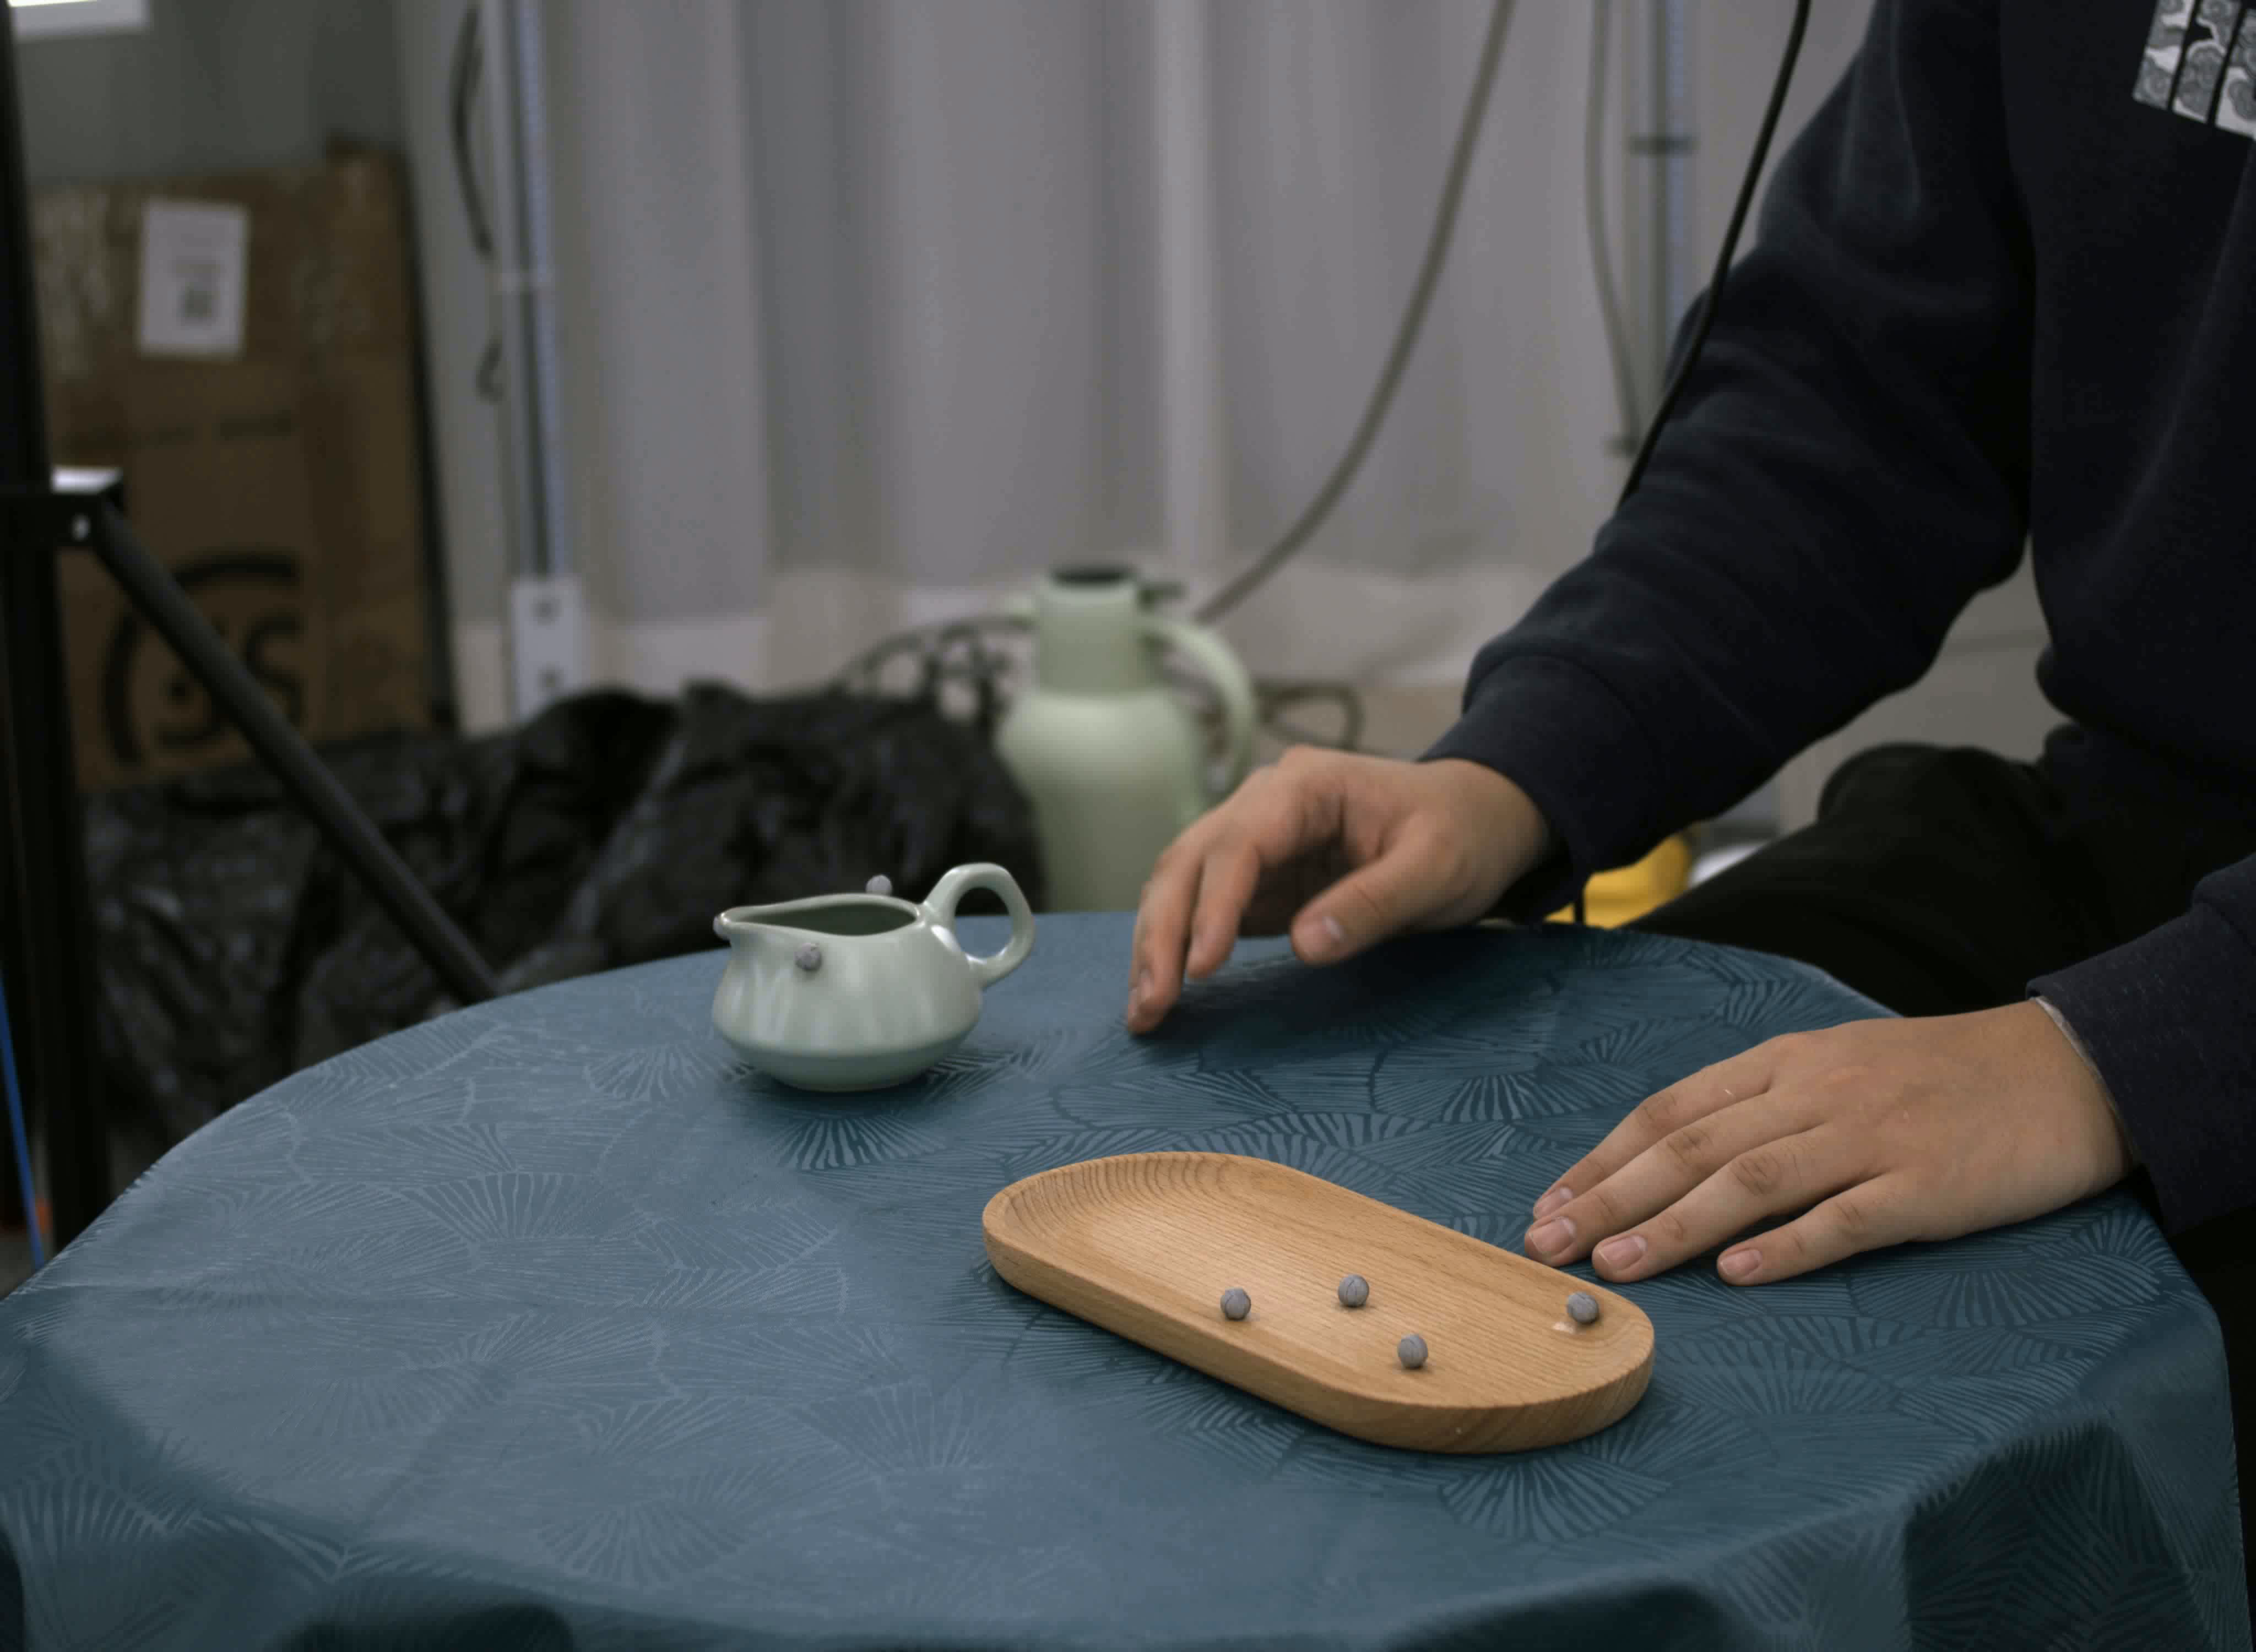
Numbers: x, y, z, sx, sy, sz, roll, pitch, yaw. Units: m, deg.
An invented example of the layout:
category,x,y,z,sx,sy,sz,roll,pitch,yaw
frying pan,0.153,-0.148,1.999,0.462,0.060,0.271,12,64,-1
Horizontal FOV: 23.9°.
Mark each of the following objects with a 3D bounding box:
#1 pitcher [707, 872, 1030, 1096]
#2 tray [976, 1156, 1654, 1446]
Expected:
category,x,y,z,sx,sy,sz,roll,pitch,yaw
pitcher,-0.080,0.049,1.678,0.105,0.060,0.088,-8,18,-28
tray,0.049,0.128,1.450,0.099,0.020,0.236,-12,16,-35
